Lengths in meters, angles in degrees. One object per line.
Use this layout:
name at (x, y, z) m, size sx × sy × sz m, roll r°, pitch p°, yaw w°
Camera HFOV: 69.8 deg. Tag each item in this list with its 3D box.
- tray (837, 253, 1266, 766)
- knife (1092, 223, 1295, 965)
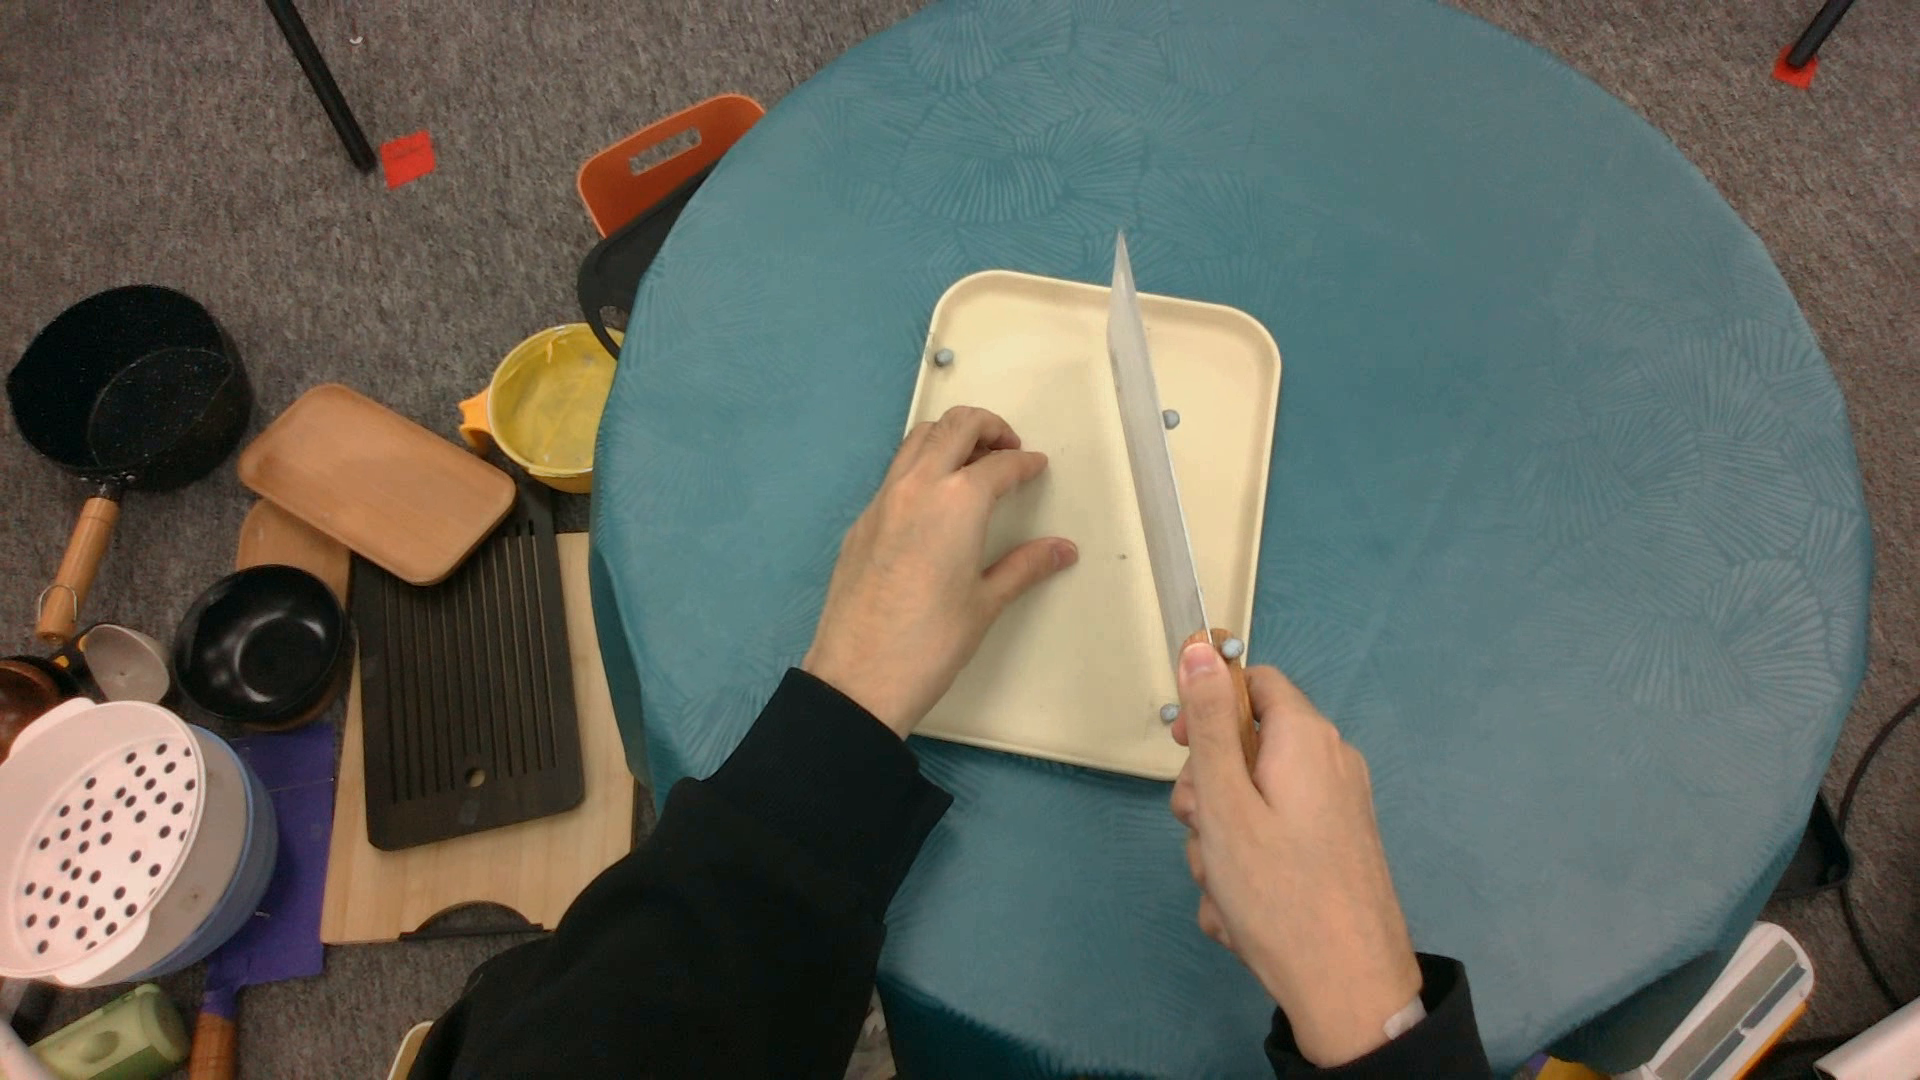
tray at (0.047, -0.021, 0.633) m, size 0.171 × 0.017 × 0.240 m, roll 11°, pitch 66°, yaw 2°
knife at (0.084, 0.017, 0.556) m, size 0.021 × 0.092 × 0.306 m, roll -8°, pitch 66°, yaw -2°
